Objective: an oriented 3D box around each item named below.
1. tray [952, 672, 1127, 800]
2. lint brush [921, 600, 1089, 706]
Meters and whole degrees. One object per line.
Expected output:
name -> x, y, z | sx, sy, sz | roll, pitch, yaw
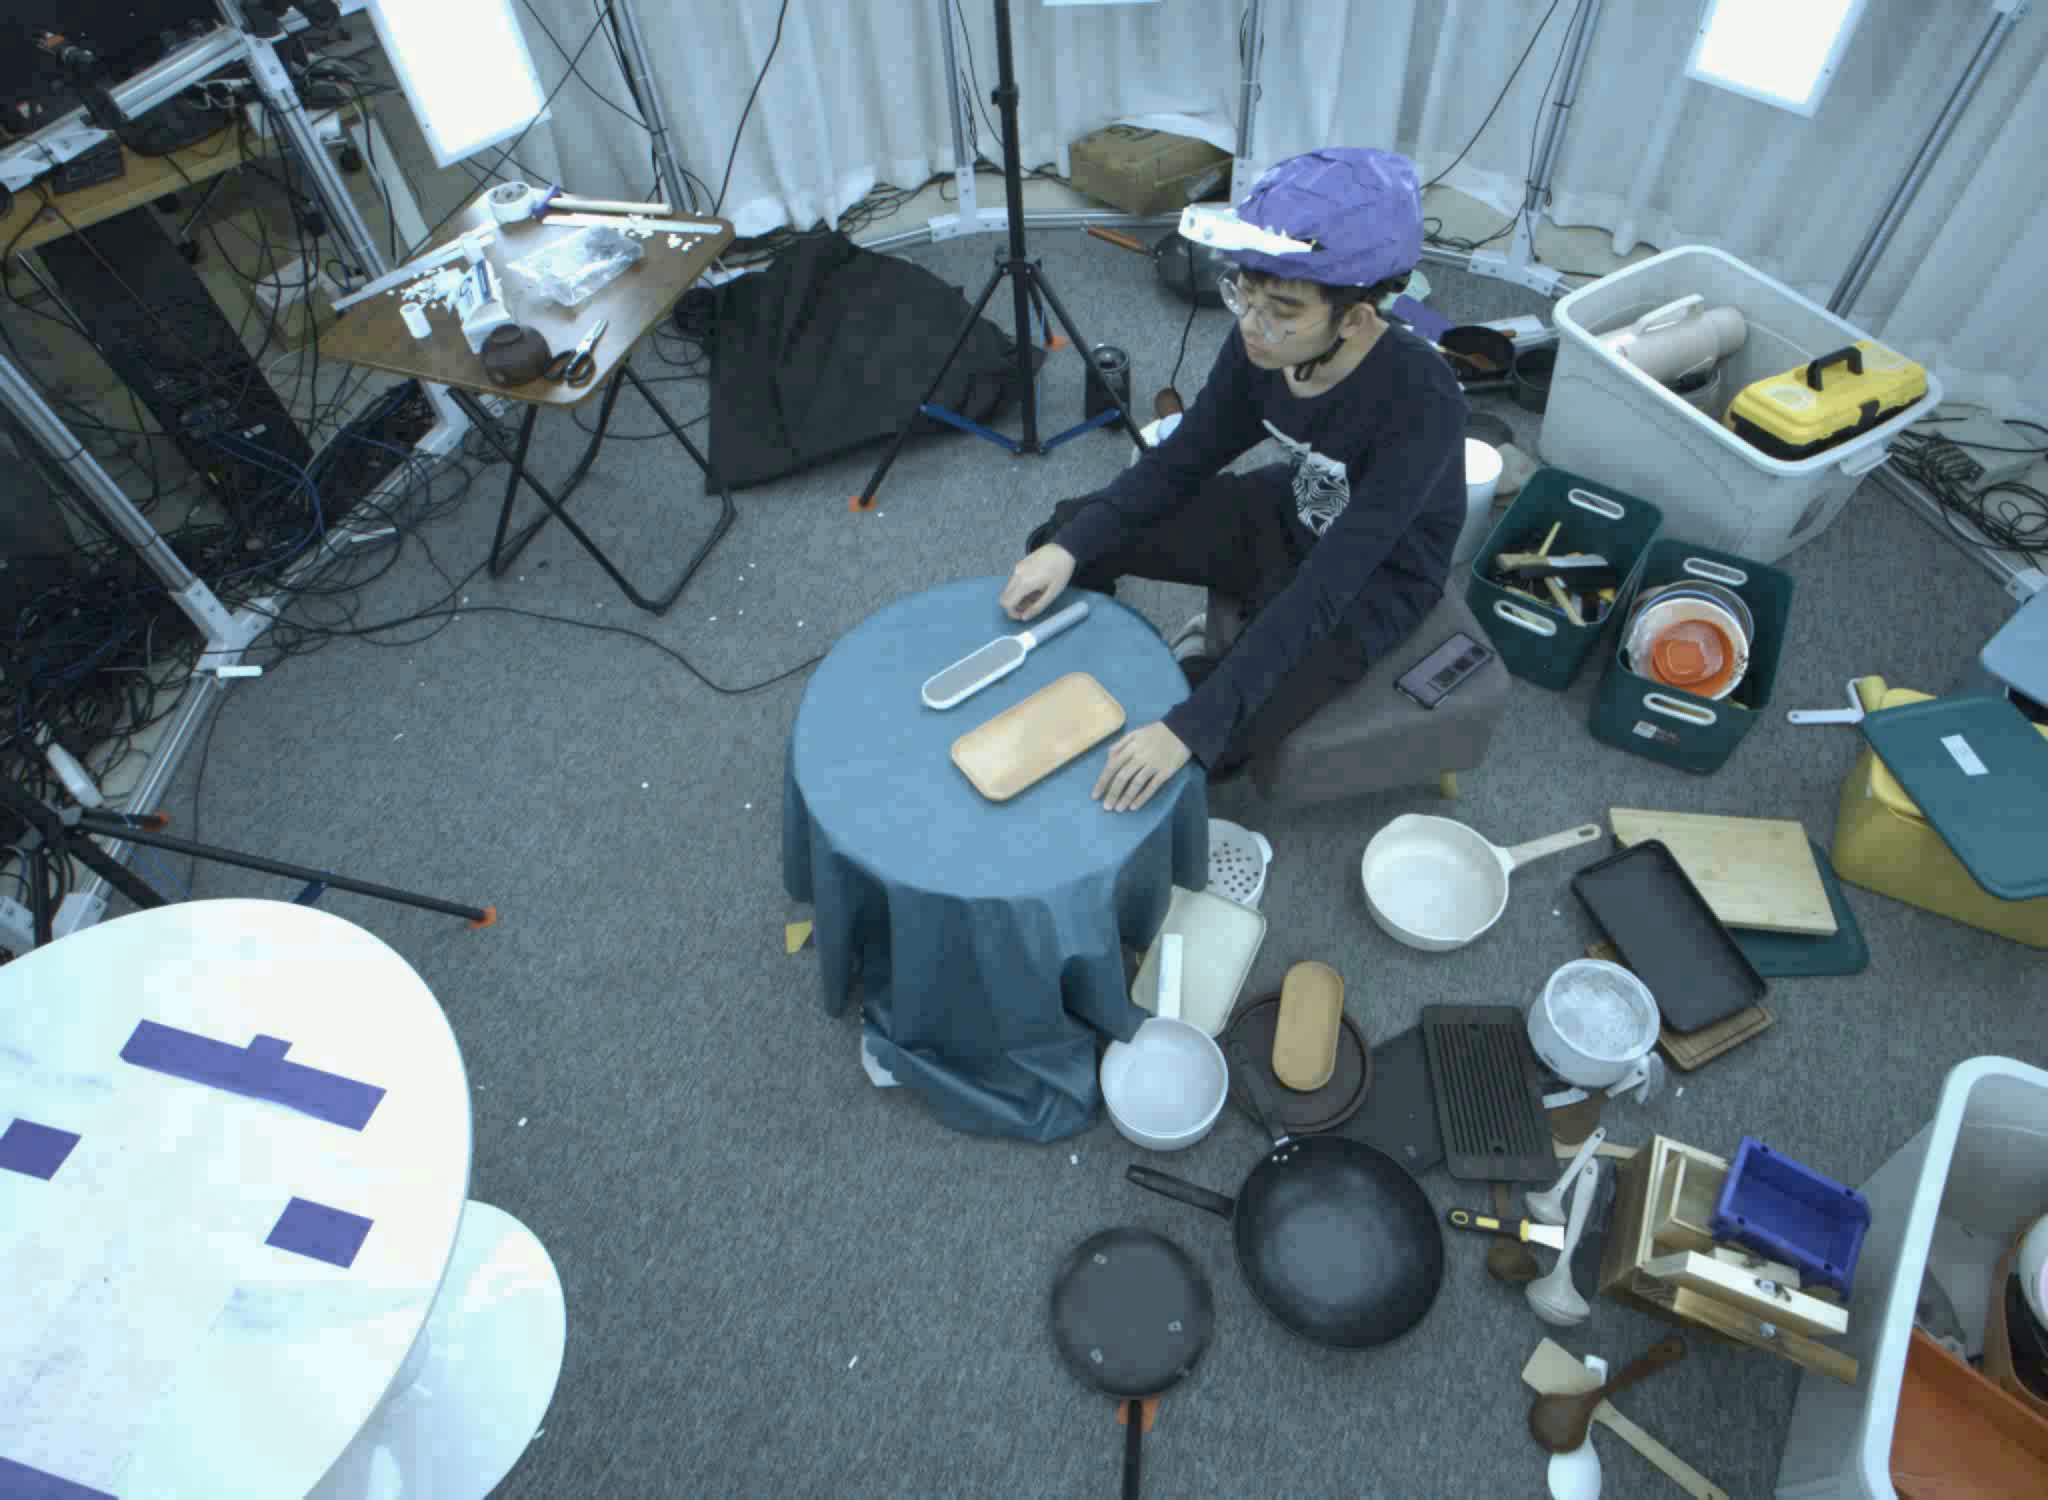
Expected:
tray -> 0.024, -0.022, 1.799 | 0.253, 0.023, 0.128 | -29, 61, -19
lint brush -> -0.024, -0.152, 1.888 | 0.311, 0.021, 0.059 | -32, 54, -20
